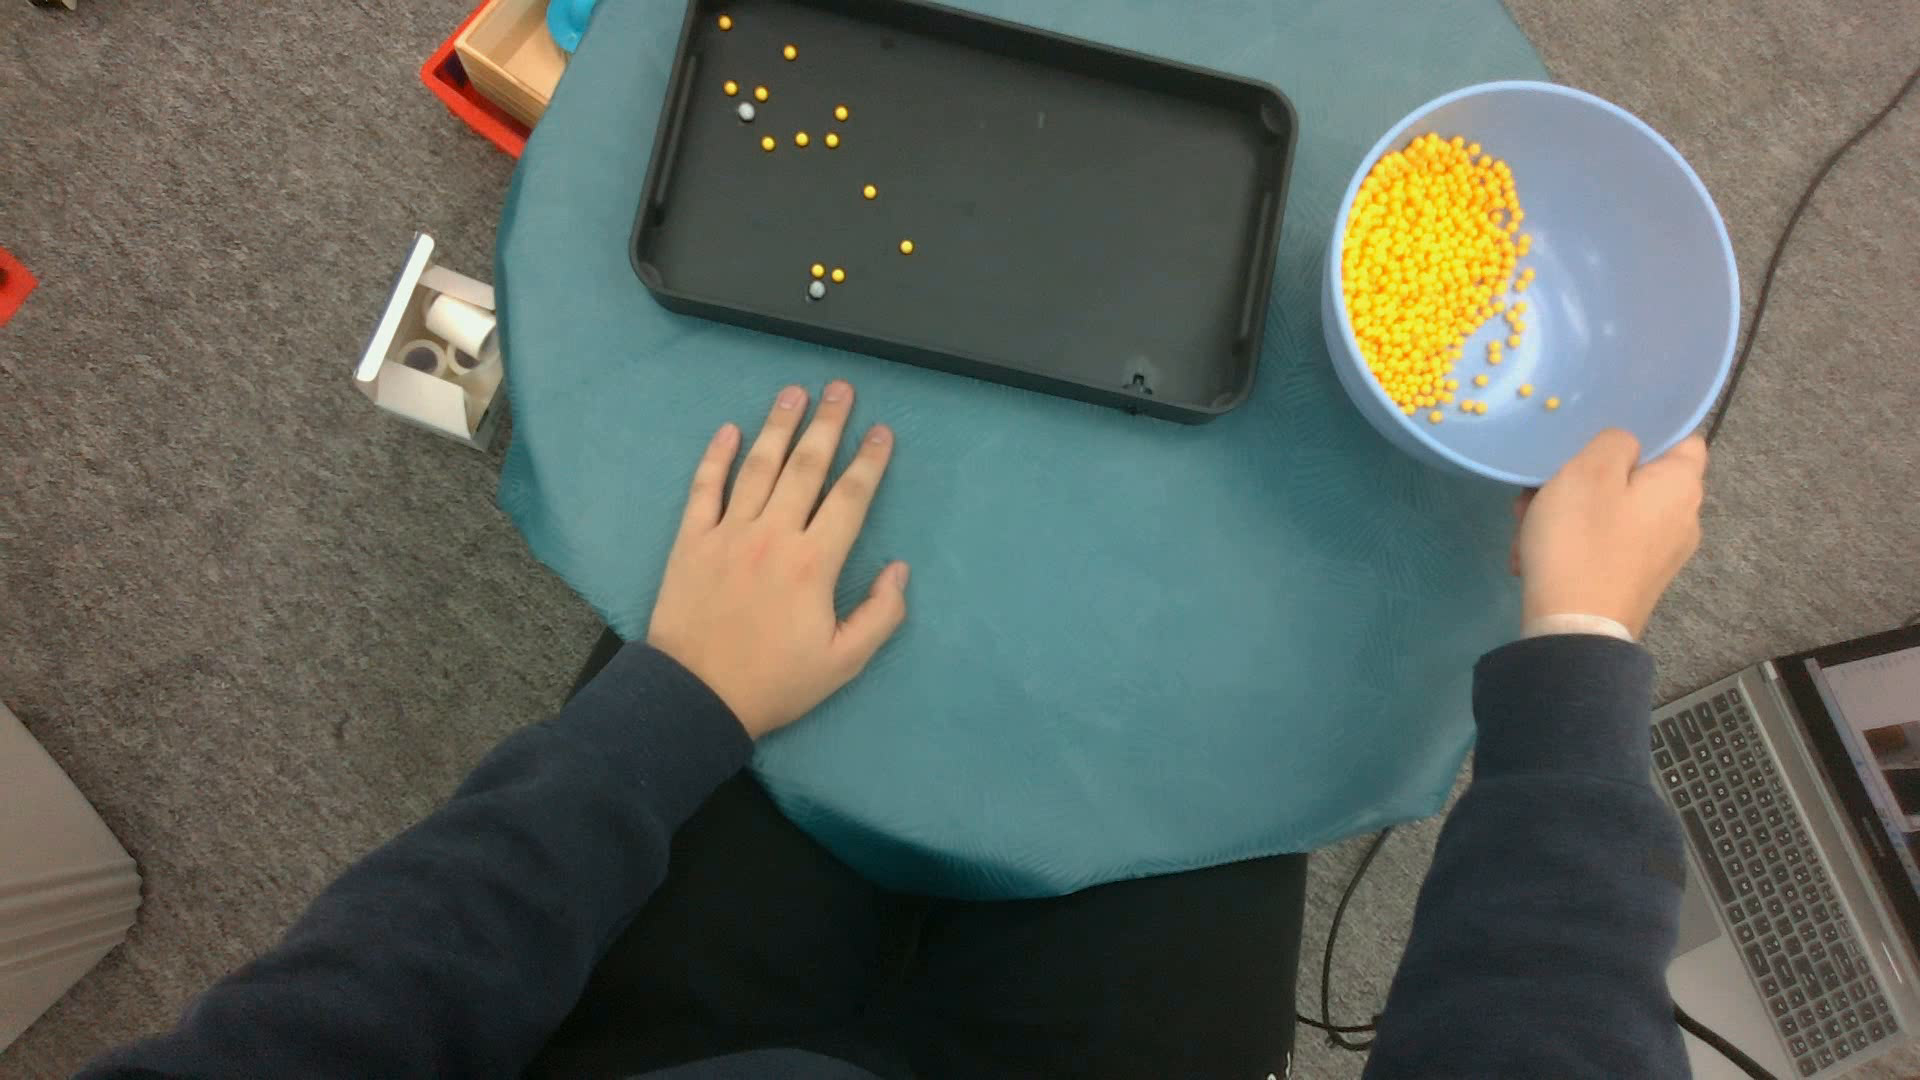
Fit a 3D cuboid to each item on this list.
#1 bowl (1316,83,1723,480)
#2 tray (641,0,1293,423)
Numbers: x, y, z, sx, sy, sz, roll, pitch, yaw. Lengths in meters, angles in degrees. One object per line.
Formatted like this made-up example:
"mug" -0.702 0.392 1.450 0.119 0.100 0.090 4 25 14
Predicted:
"bowl" 0.265 -0.118 0.698 0.196 0.095 0.197 1 81 -5
"tray" 0.007 -0.175 0.722 0.318 0.037 0.184 11 80 -3
